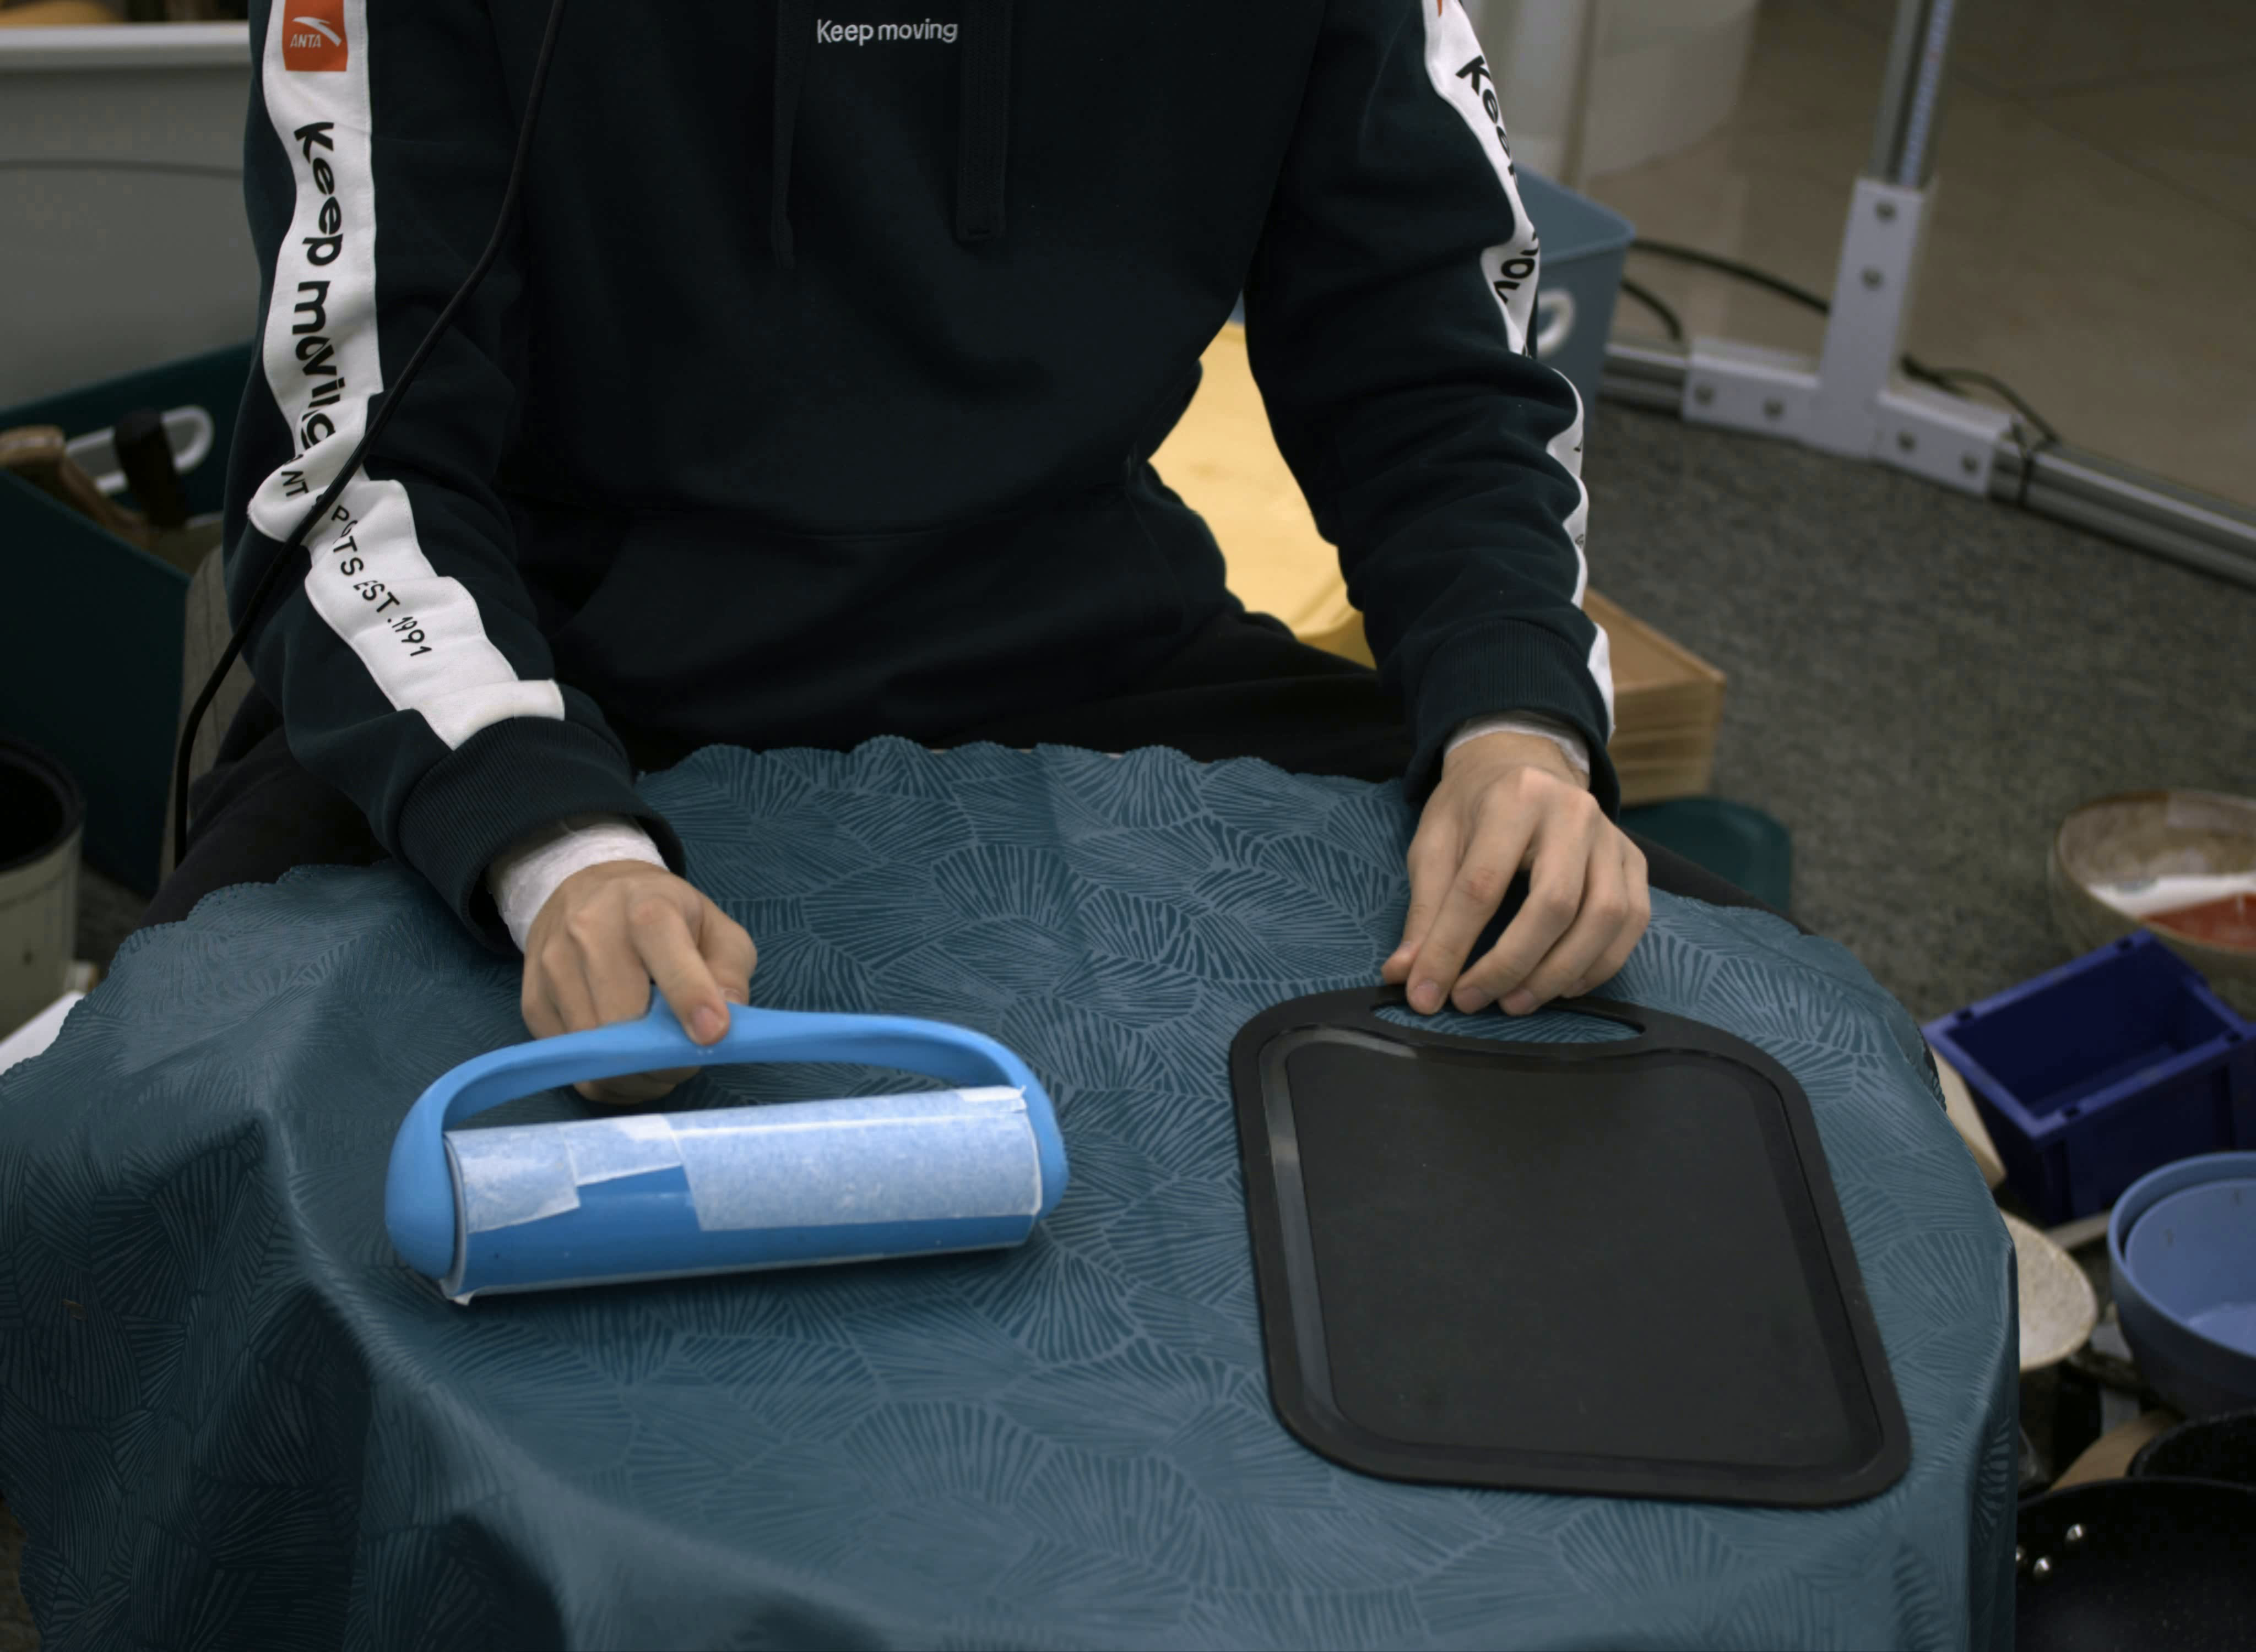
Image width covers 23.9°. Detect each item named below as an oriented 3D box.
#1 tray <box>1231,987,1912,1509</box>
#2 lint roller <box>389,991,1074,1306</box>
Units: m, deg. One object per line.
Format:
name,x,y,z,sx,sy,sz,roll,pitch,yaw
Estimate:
tray,0.143,0.133,1.803,0.210,0.010,0.327,4,27,-4
lint roller,-0.148,0.090,1.769,0.227,0.067,0.182,-7,31,-21
